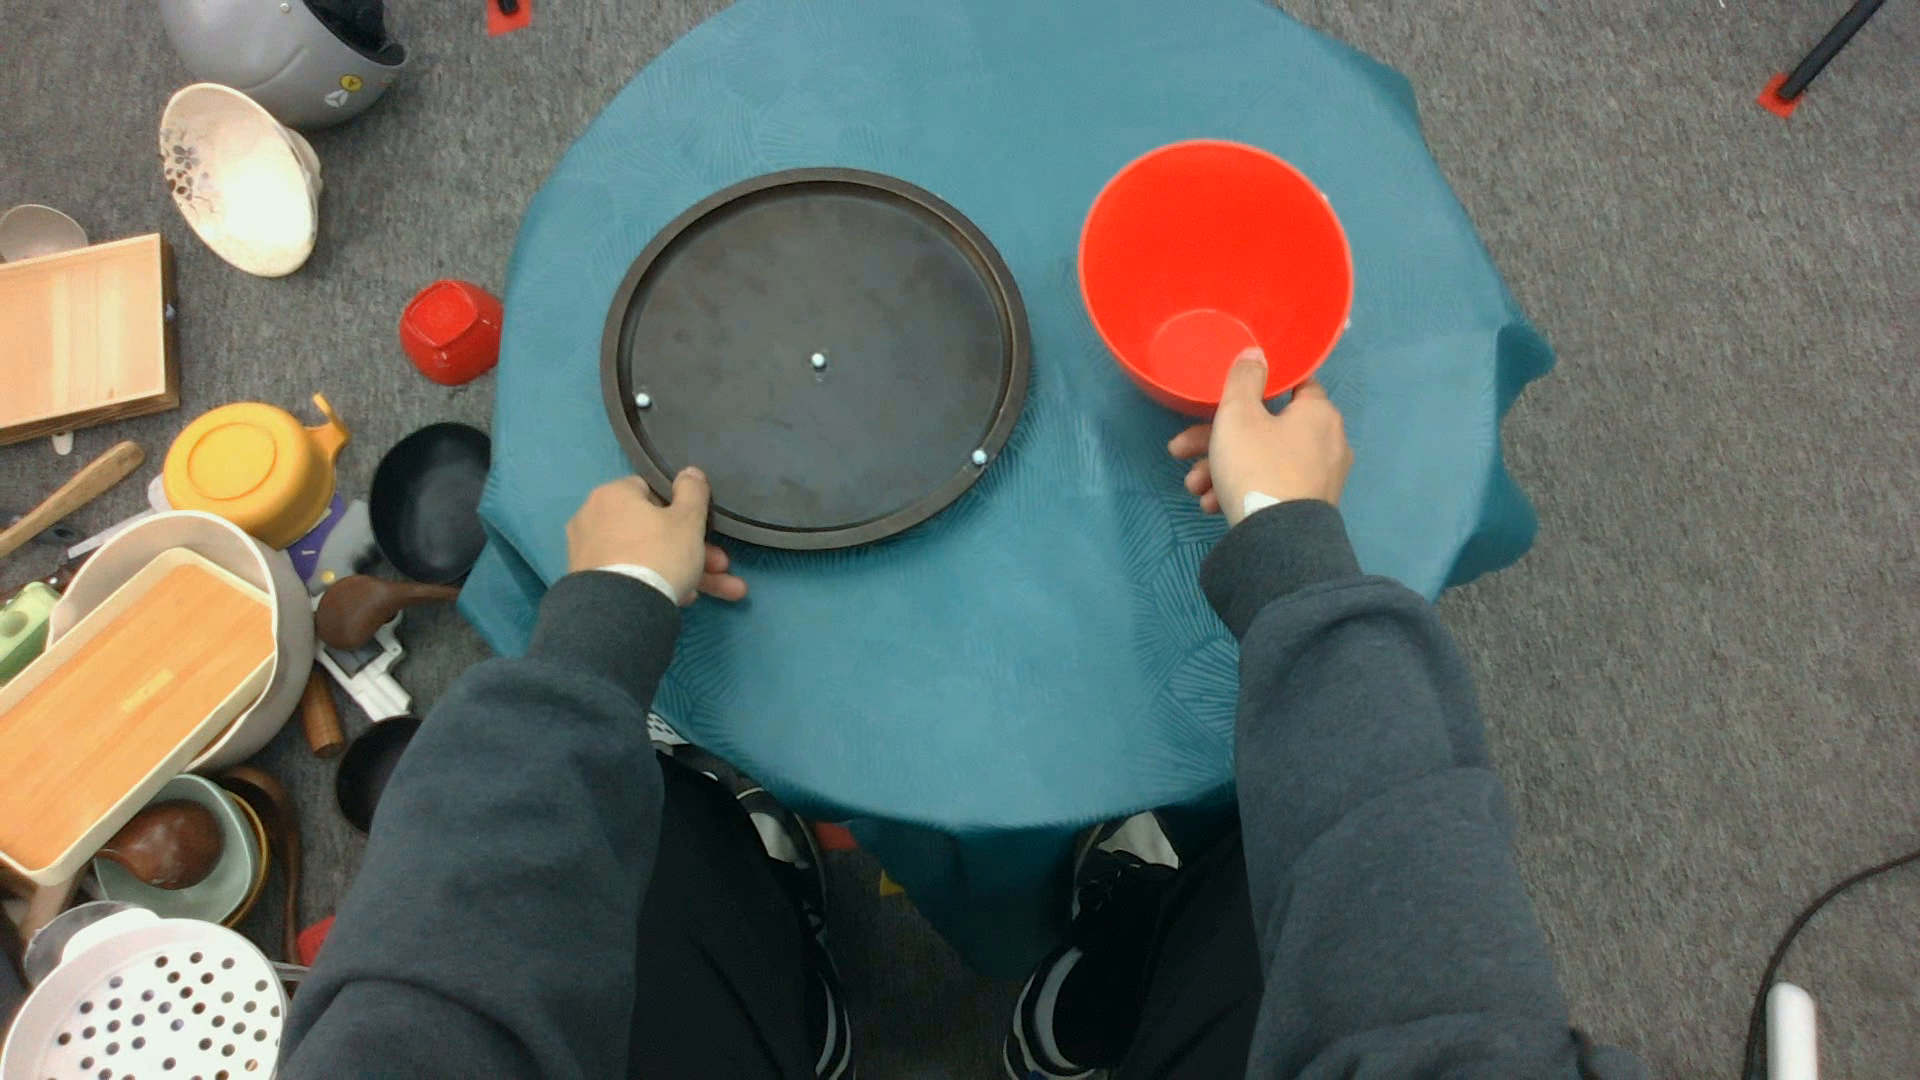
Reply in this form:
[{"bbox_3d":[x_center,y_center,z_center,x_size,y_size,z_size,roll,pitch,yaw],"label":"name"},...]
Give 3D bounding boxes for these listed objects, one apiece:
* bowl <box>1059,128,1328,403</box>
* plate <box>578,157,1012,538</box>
[{"bbox_3d":[0.127,-0.141,0.778,0.148,0.104,0.148,0,69,0],"label":"bowl"},{"bbox_3d":[-0.096,-0.117,0.810,0.255,0.029,0.255,1,69,-1],"label":"plate"}]
